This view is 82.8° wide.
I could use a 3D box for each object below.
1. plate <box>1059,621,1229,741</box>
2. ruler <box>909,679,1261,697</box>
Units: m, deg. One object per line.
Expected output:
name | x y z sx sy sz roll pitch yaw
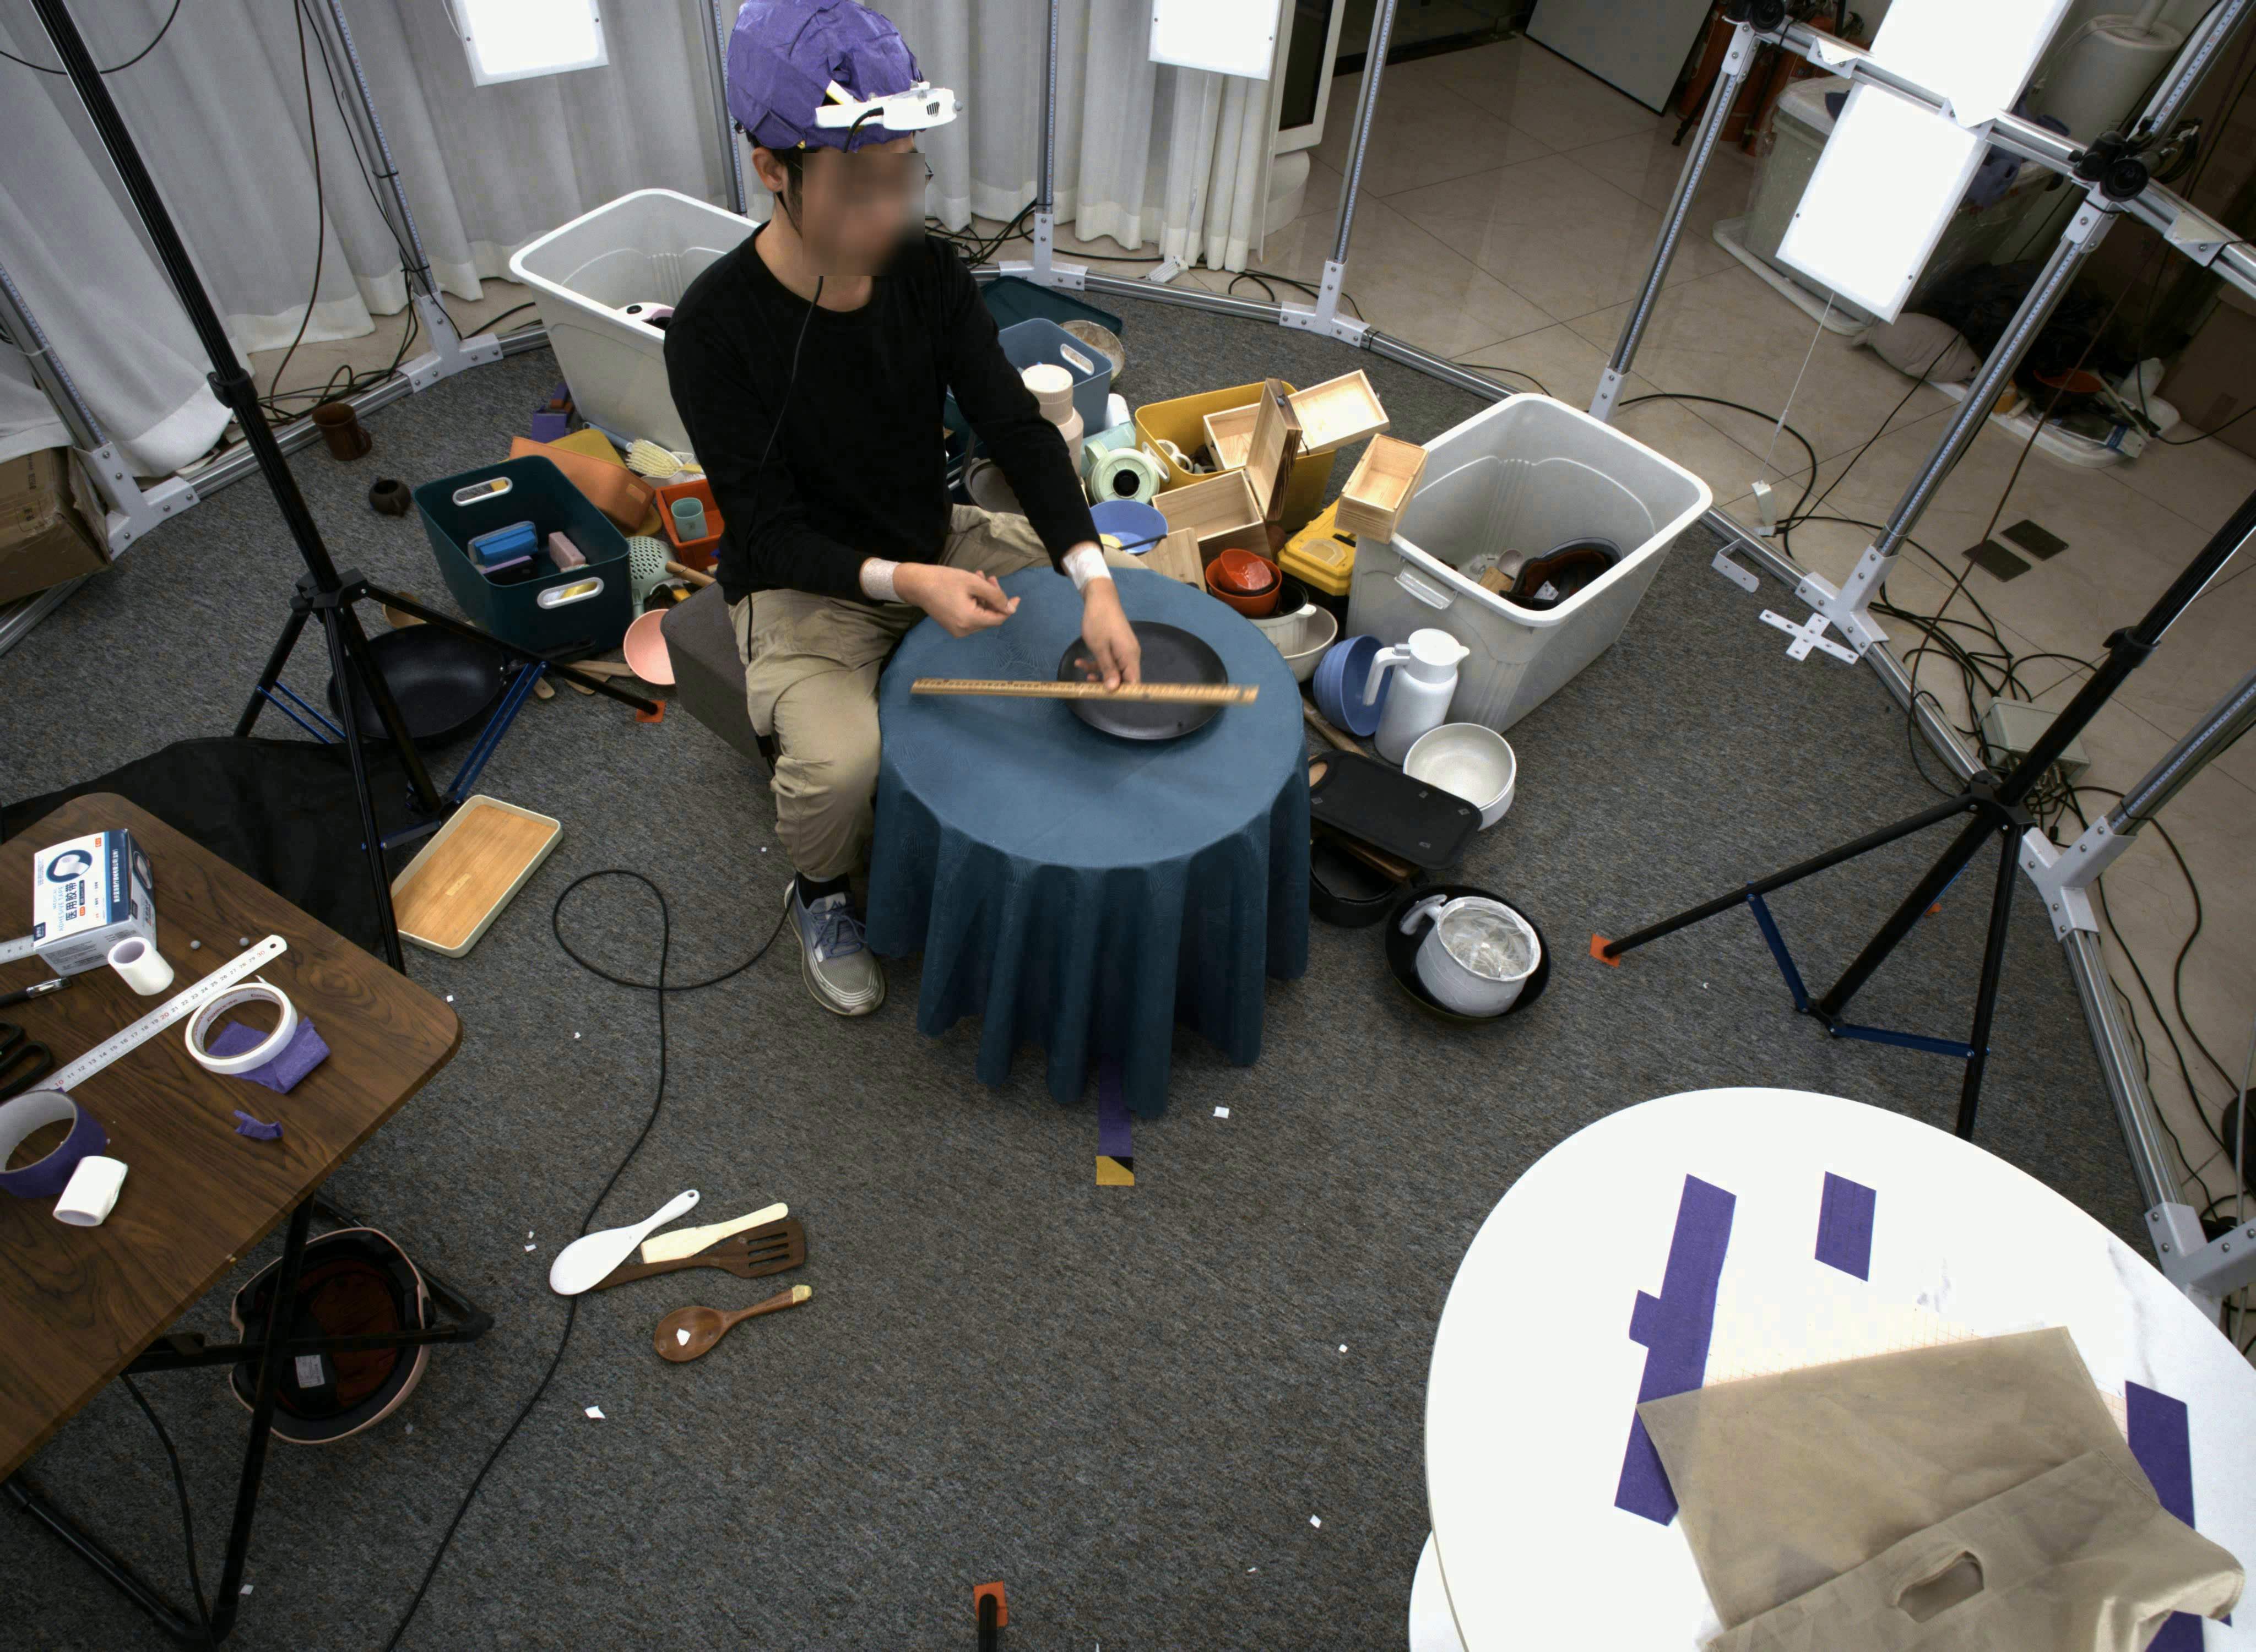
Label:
plate | 0.022 -0.206 1.835 0.244 0.023 0.250 2 49 -2
ruler | -0.067 -0.183 1.698 0.502 0.006 0.027 3 51 22
